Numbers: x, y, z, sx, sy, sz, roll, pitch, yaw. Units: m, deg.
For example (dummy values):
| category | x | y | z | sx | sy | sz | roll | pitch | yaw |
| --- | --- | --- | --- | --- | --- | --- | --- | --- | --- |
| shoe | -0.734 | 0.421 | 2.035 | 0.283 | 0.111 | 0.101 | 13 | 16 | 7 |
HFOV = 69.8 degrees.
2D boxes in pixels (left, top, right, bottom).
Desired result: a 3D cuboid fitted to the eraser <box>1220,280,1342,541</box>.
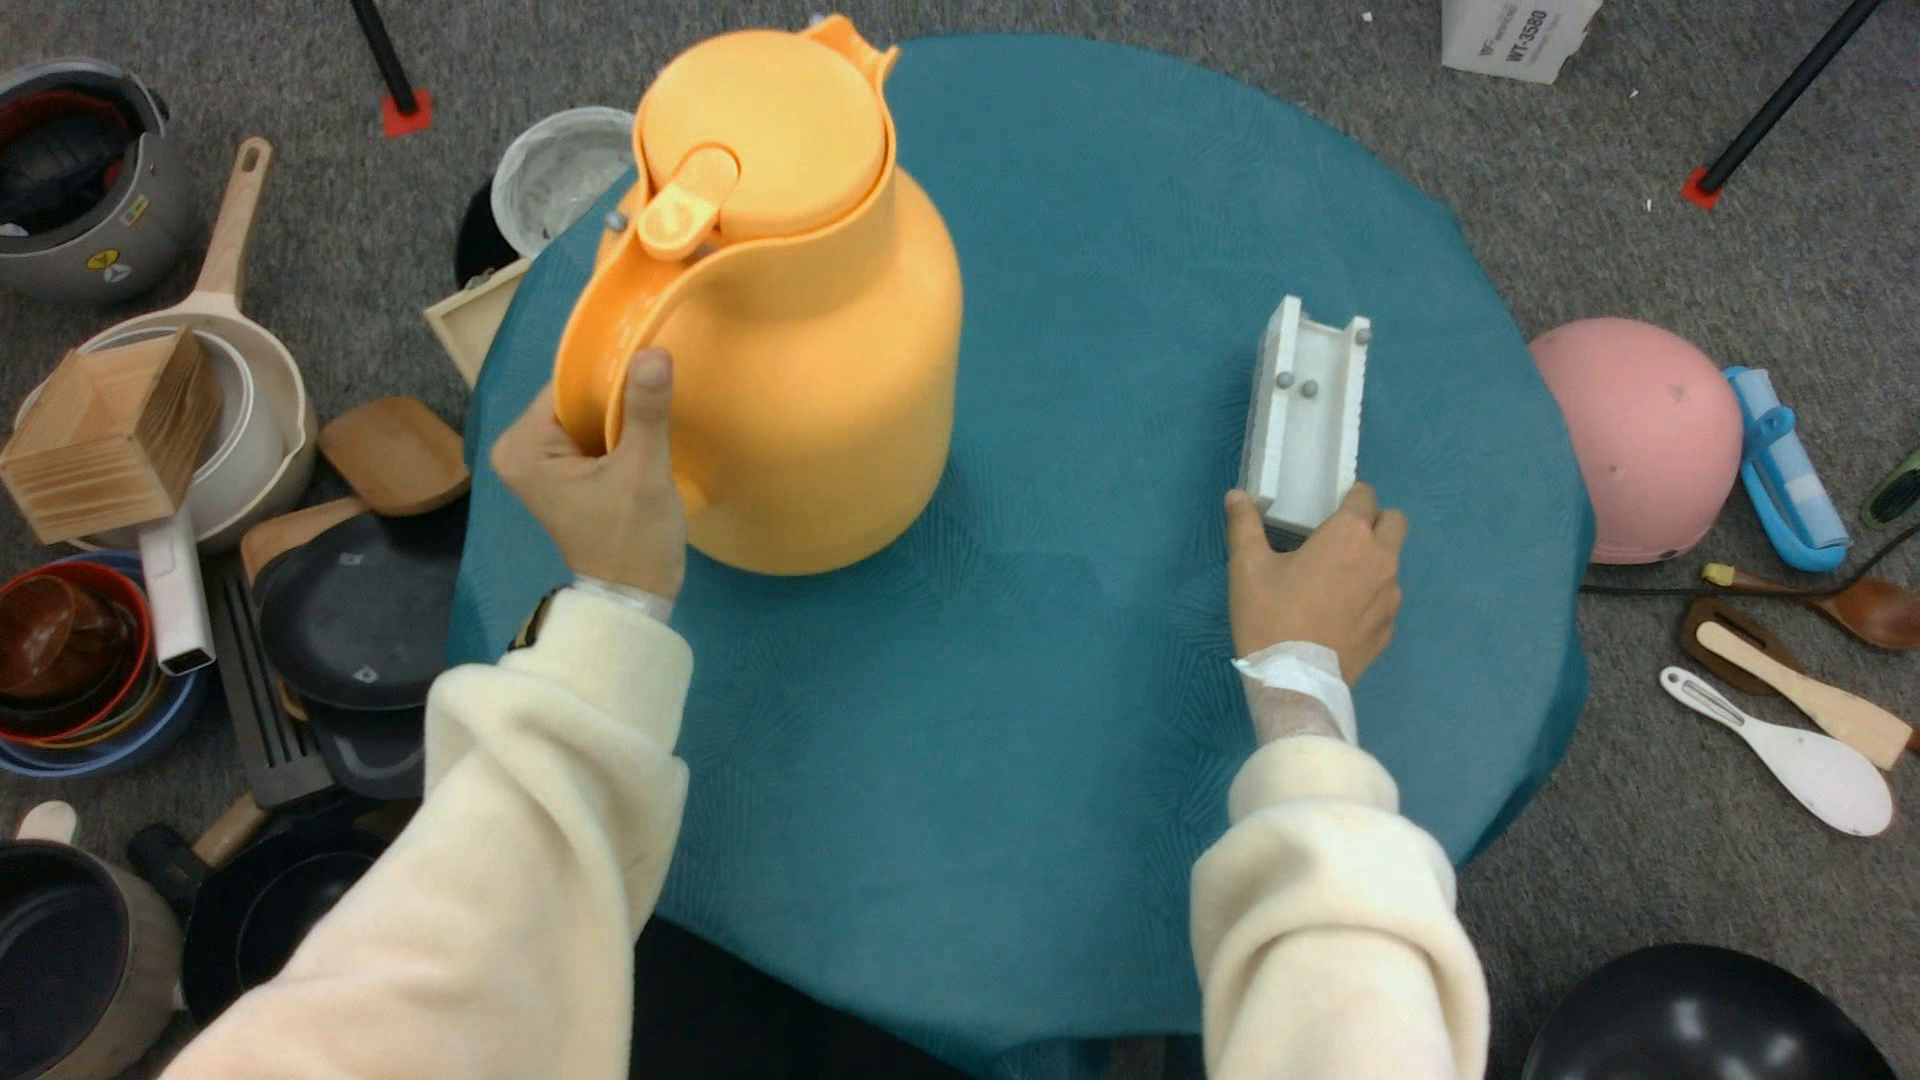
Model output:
| category | x | y | z | sx | sy | sz | roll | pitch | yaw |
| --- | --- | --- | --- | --- | --- | --- | --- | --- | --- |
| eraser | 0.169 | -0.069 | 0.729 | 0.050 | 0.046 | 0.135 | 16 | 58 | -8 |

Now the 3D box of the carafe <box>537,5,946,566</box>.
| category | x | y | z | sx | sy | sz | roll | pitch | yaw |
| --- | --- | --- | --- | --- | --- | --- | --- | --- | --- |
| carafe | -0.099 | -0.093 | 0.608 | 0.163 | 0.259 | 0.203 | 31 | 64 | 13 |
